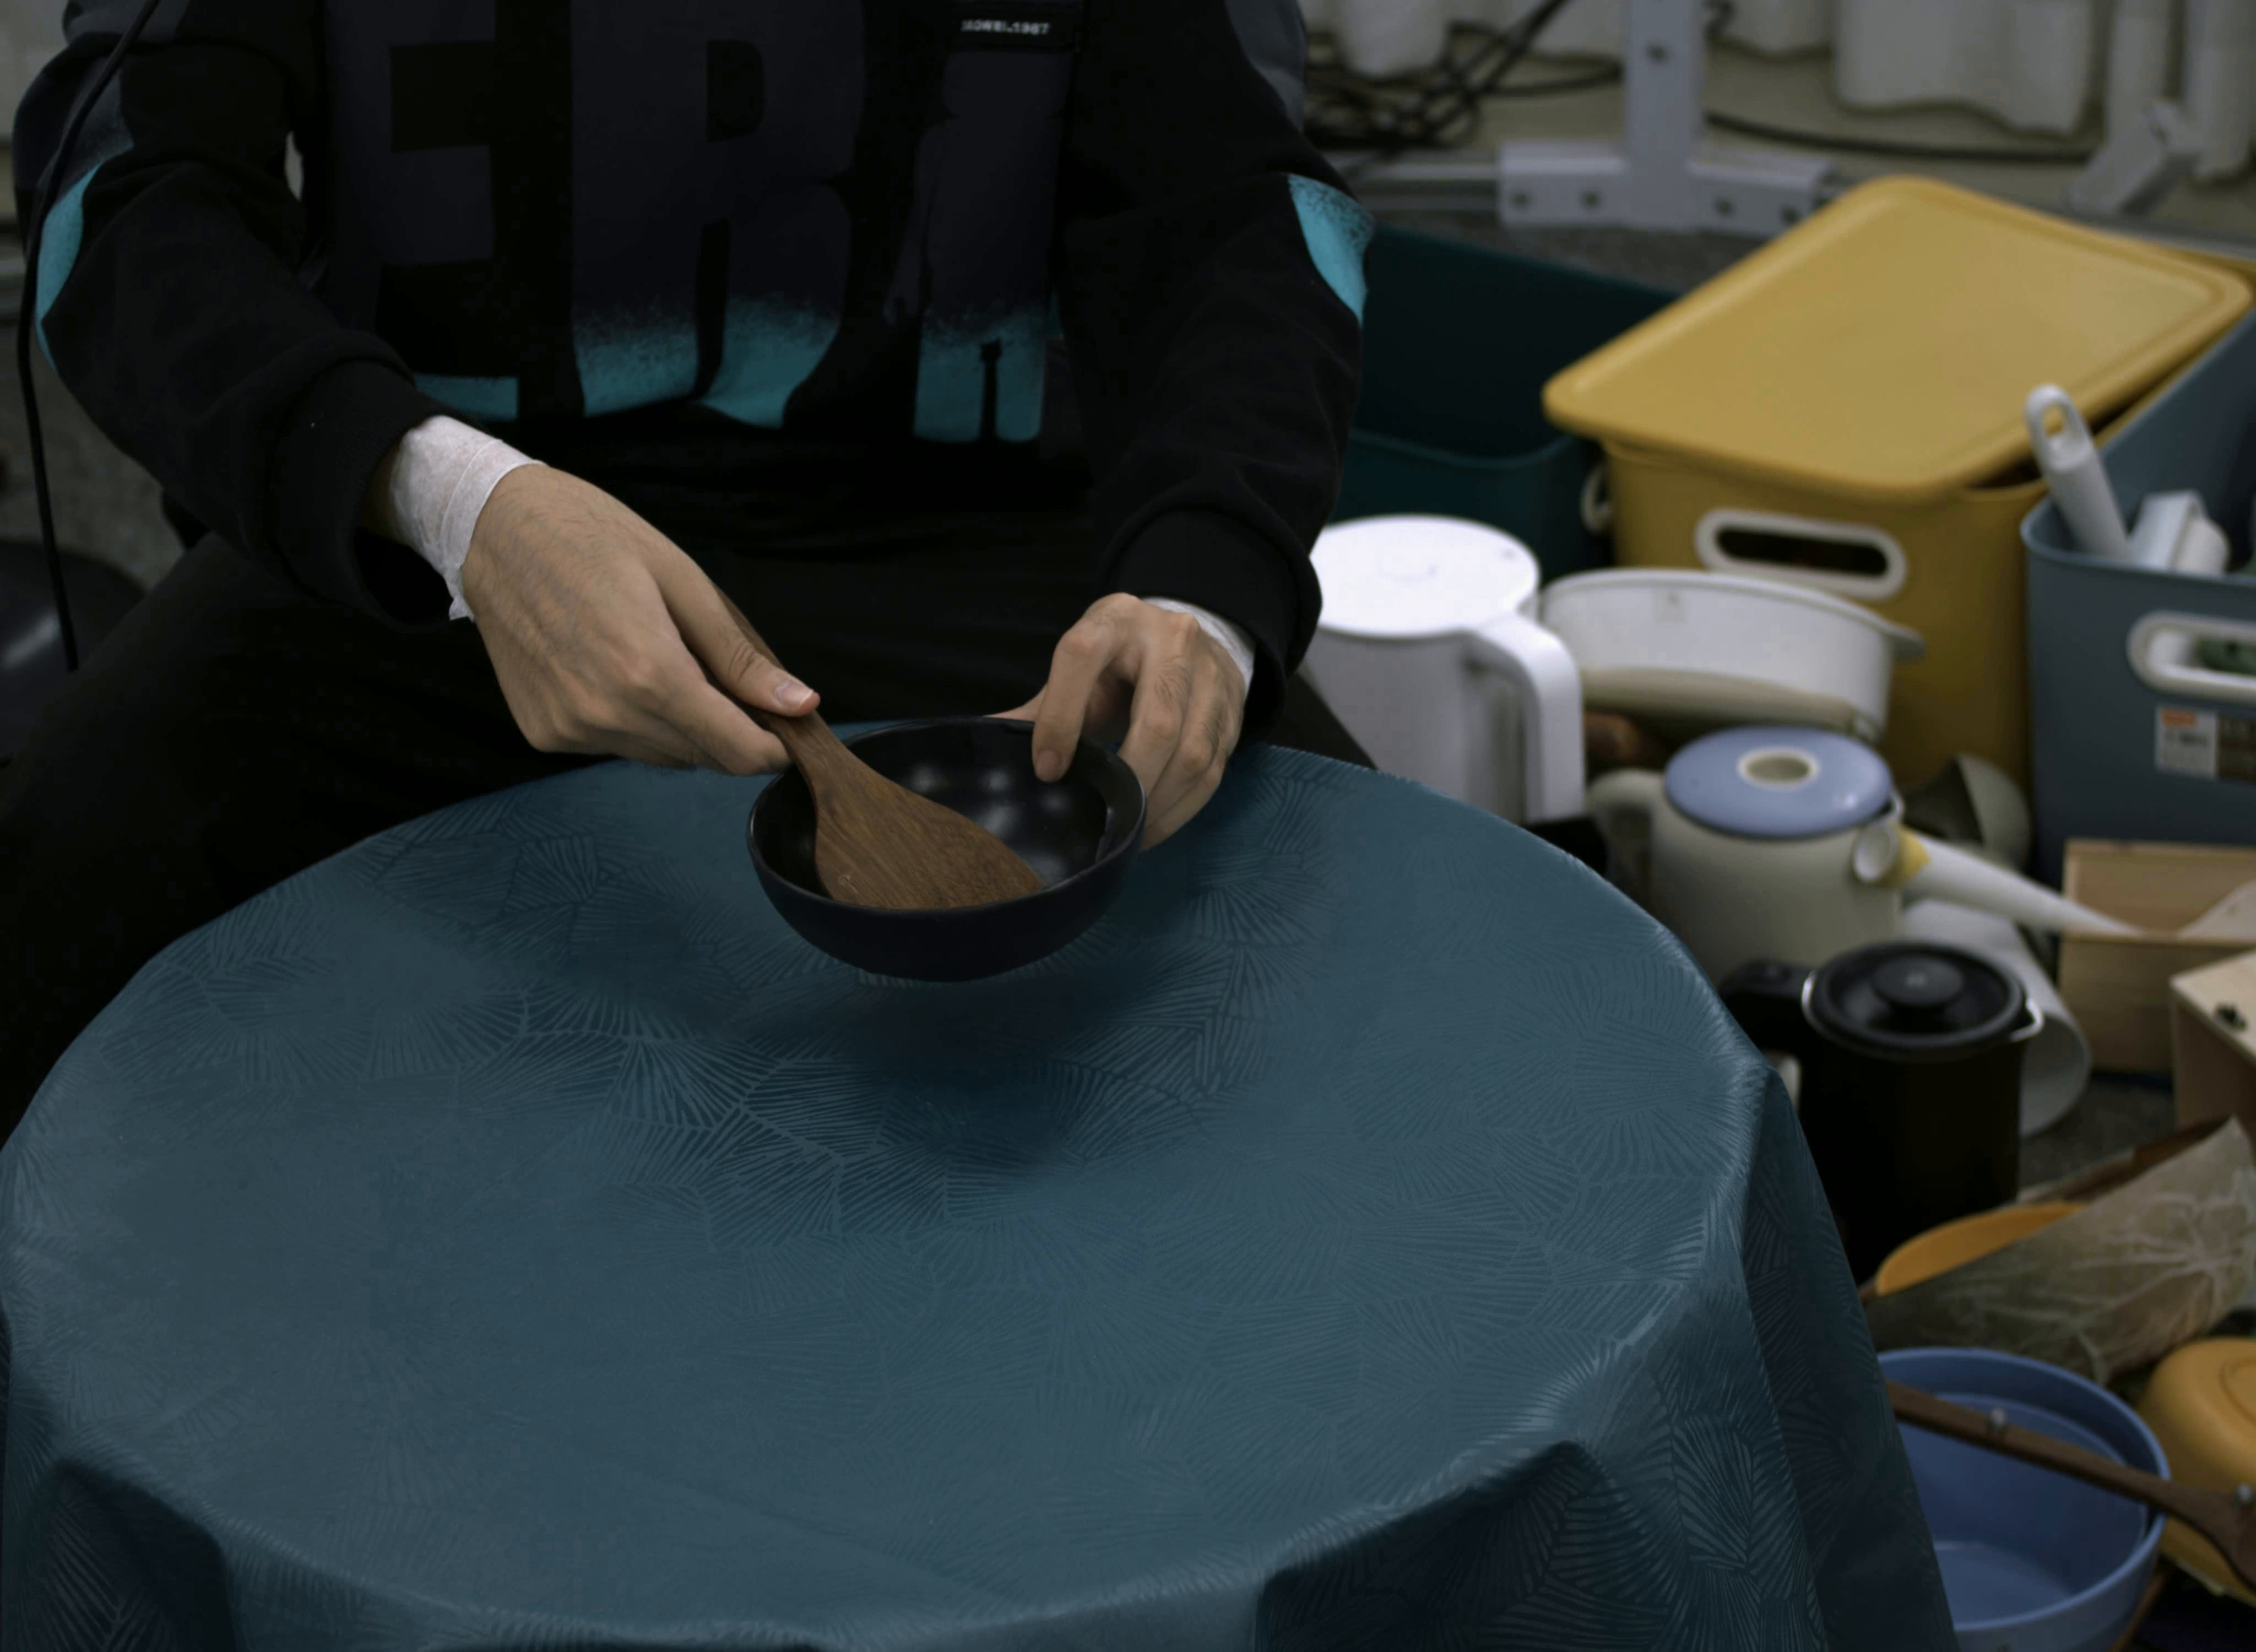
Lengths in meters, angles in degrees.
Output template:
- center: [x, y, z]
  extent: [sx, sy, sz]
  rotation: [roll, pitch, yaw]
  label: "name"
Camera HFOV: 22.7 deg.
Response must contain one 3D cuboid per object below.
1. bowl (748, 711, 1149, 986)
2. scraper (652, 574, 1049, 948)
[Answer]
- center: [-0.059, 0.016, 1.936]
  extent: [0.139, 0.049, 0.142]
  rotation: [-5, 30, 3]
  label: "bowl"
- center: [-0.106, -0.025, 1.963]
  extent: [0.076, 0.010, 0.213]
  rotation: [-14, 45, -32]
  label: "scraper"
